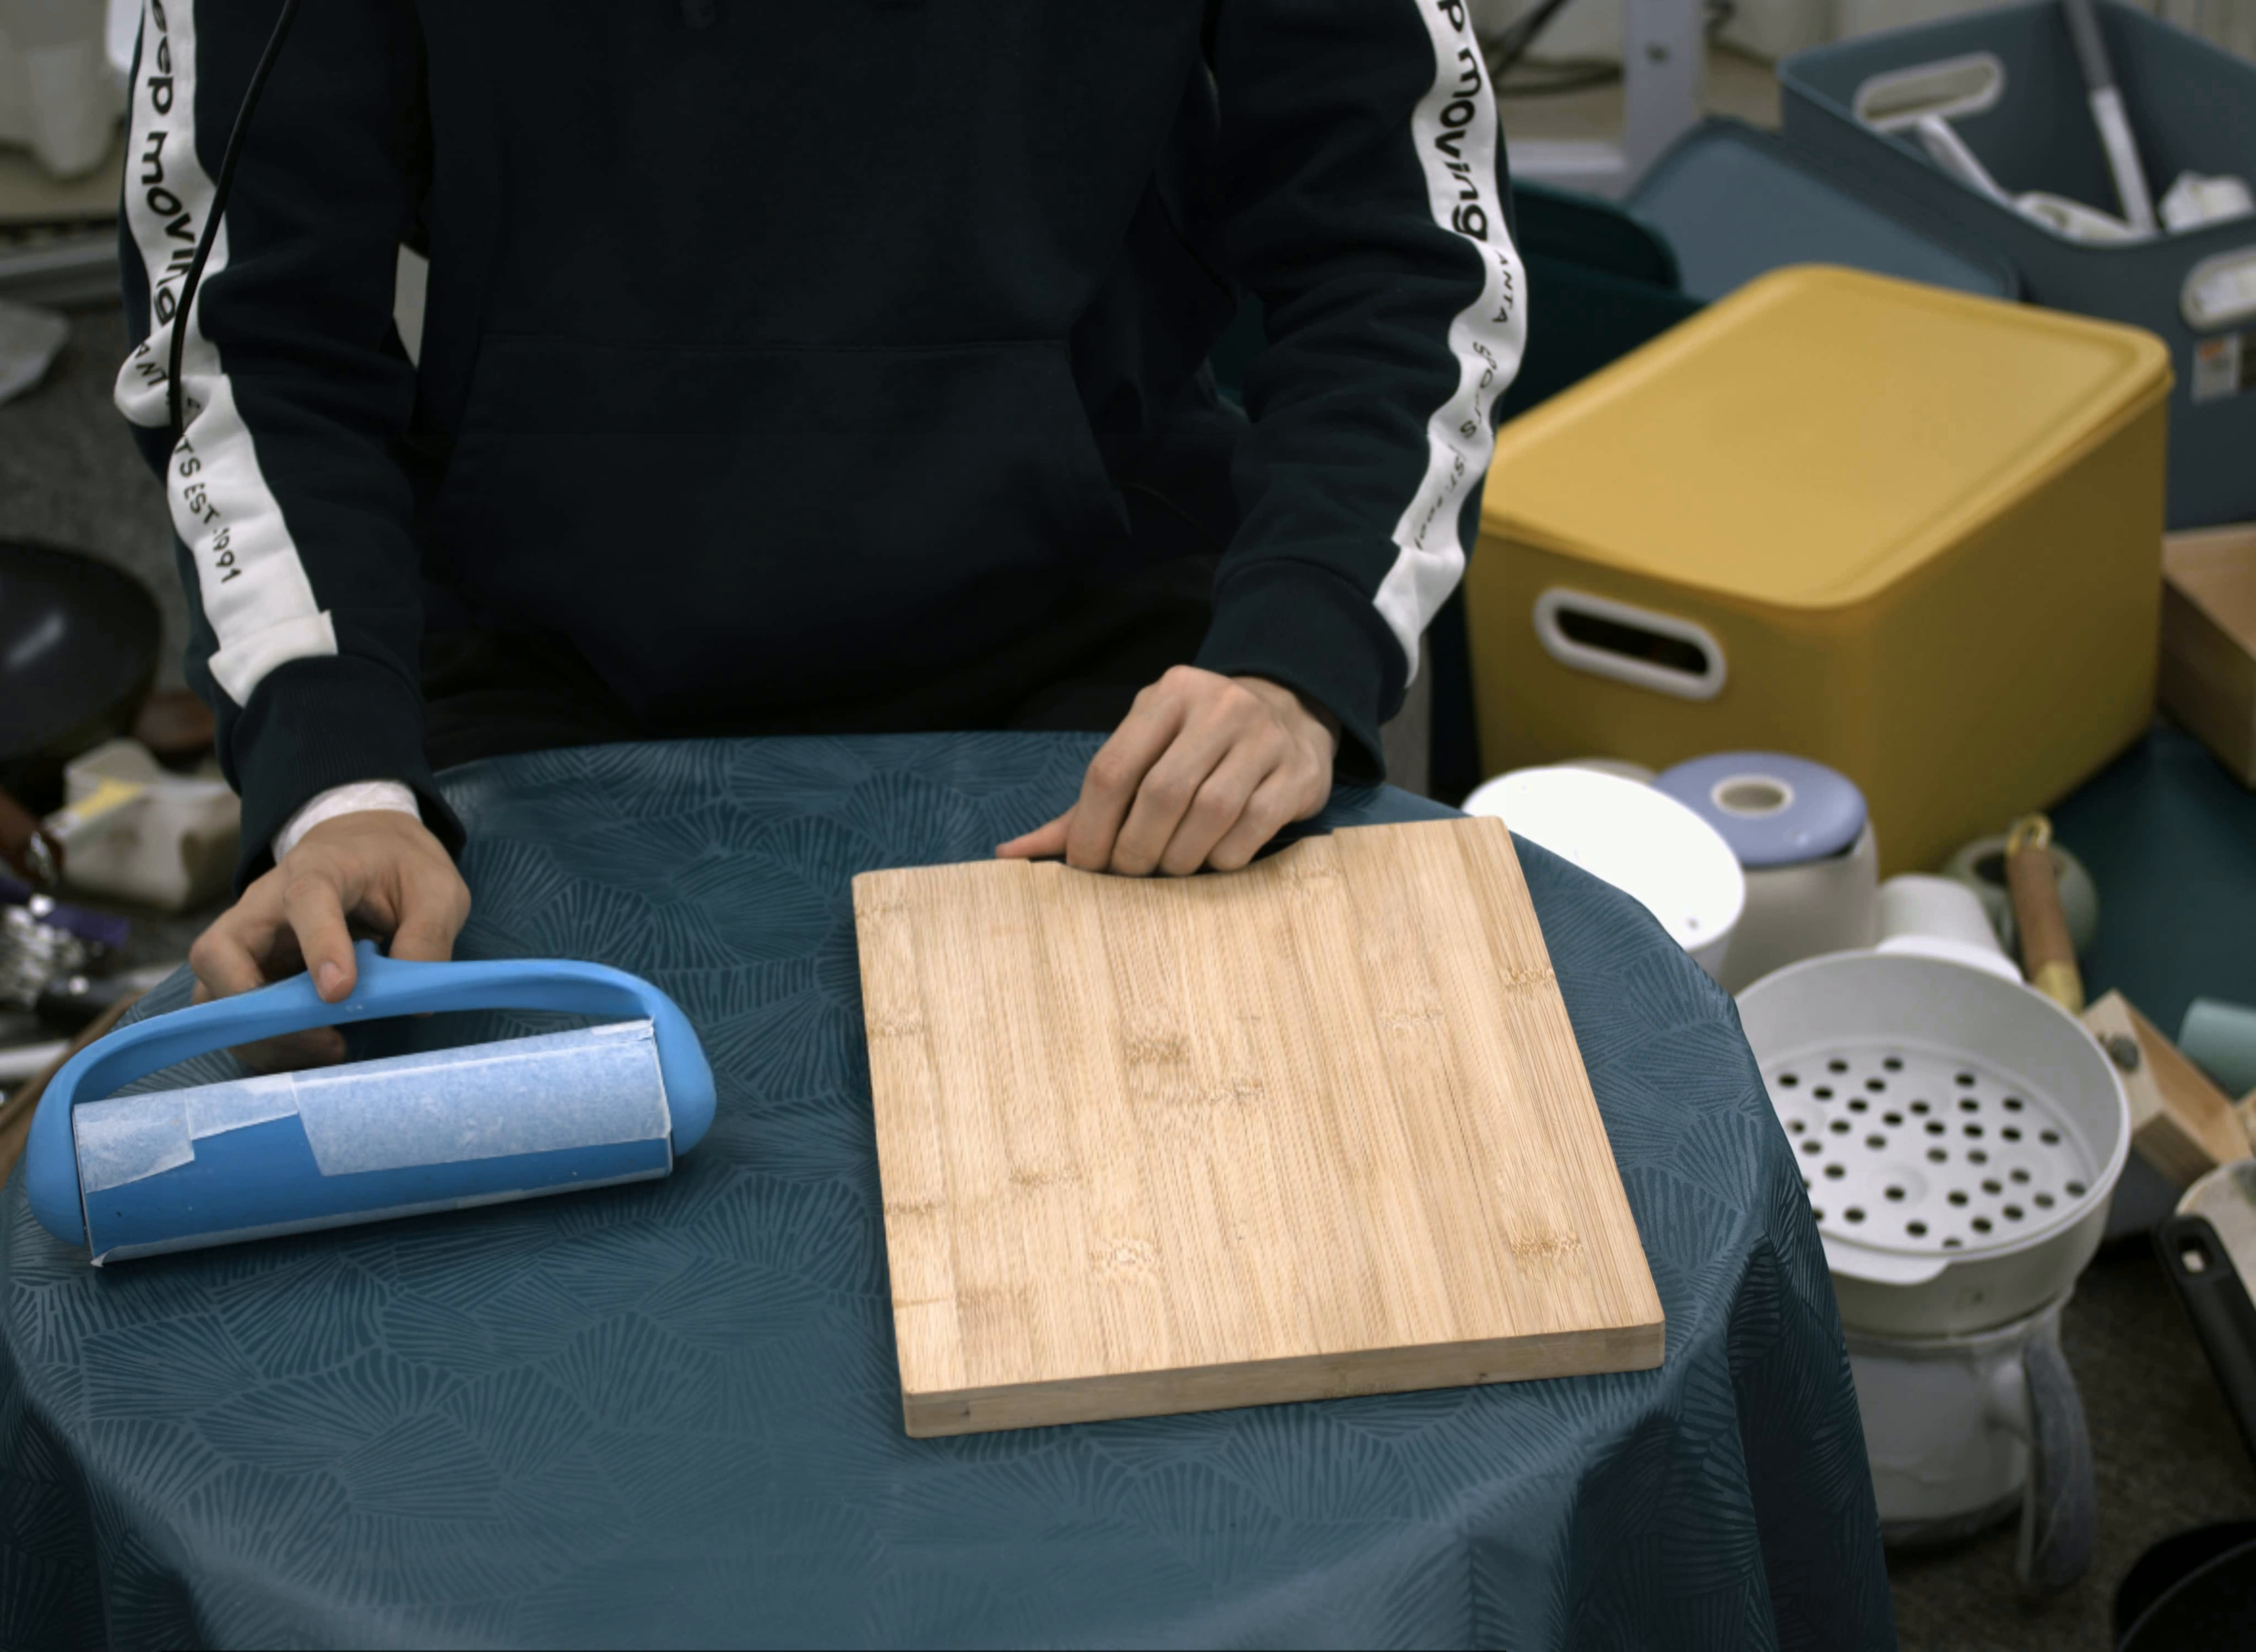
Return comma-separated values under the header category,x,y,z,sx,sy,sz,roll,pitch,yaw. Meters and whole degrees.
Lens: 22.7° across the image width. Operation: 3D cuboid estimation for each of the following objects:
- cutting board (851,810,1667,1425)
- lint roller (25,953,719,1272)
category,x,y,z,sx,sy,sz,roll,pitch,yaw
cutting board,0.034,0.093,1.895,0.250,0.023,0.353,-5,28,-4
lint roller,-0.263,0.078,1.908,0.229,0.067,0.182,-11,29,-12
